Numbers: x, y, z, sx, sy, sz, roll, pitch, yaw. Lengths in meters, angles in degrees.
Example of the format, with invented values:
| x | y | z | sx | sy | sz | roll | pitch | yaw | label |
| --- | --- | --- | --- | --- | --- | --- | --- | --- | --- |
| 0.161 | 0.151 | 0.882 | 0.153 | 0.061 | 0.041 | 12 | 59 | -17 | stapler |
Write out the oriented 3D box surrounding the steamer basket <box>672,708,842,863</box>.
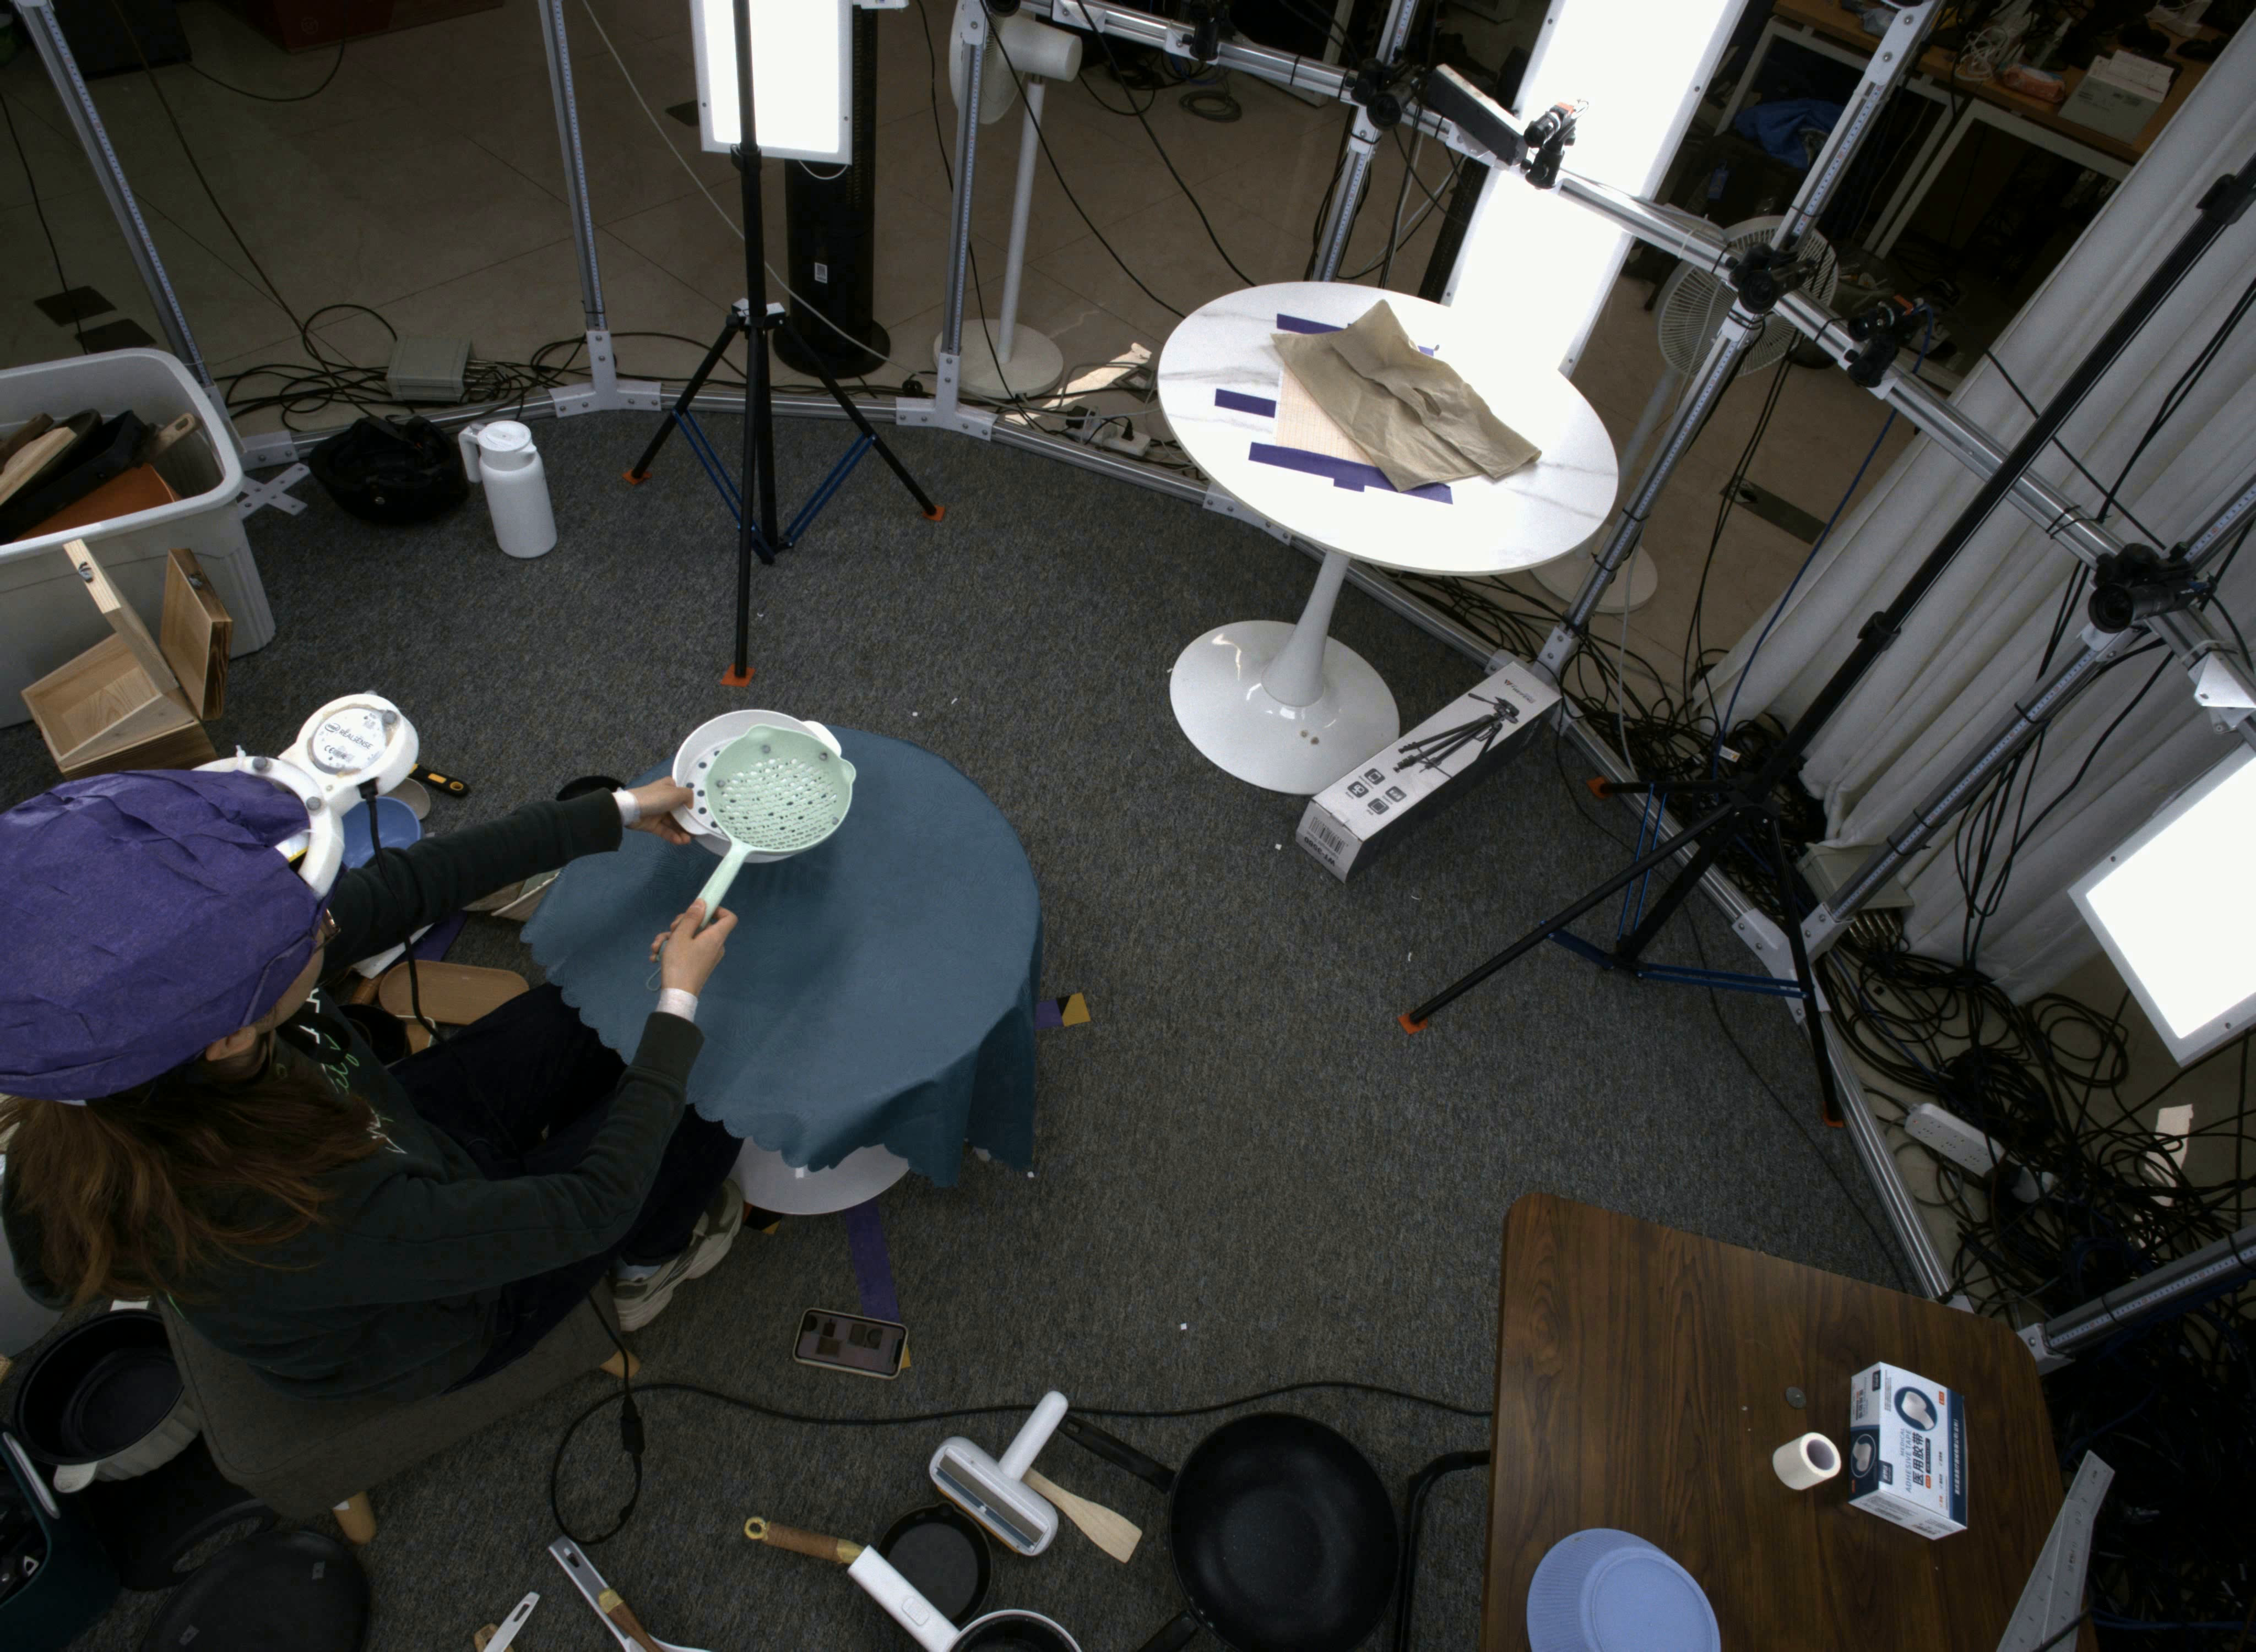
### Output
| x | y | z | sx | sy | sz | roll | pitch | yaw | label |
| --- | --- | --- | --- | --- | --- | --- | --- | --- | --- |
| -0.467 | -0.050 | 1.639 | 0.231 | 0.070 | 0.199 | -37 | 75 | -31 | steamer basket |

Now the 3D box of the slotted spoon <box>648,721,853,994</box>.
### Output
| x | y | z | sx | sy | sz | roll | pitch | yaw | label |
| --- | --- | --- | --- | --- | --- | --- | --- | --- | --- |
| -0.447 | 0.032 | 1.468 | 0.168 | 0.076 | 0.355 | 24 | 49 | 0 | slotted spoon |
